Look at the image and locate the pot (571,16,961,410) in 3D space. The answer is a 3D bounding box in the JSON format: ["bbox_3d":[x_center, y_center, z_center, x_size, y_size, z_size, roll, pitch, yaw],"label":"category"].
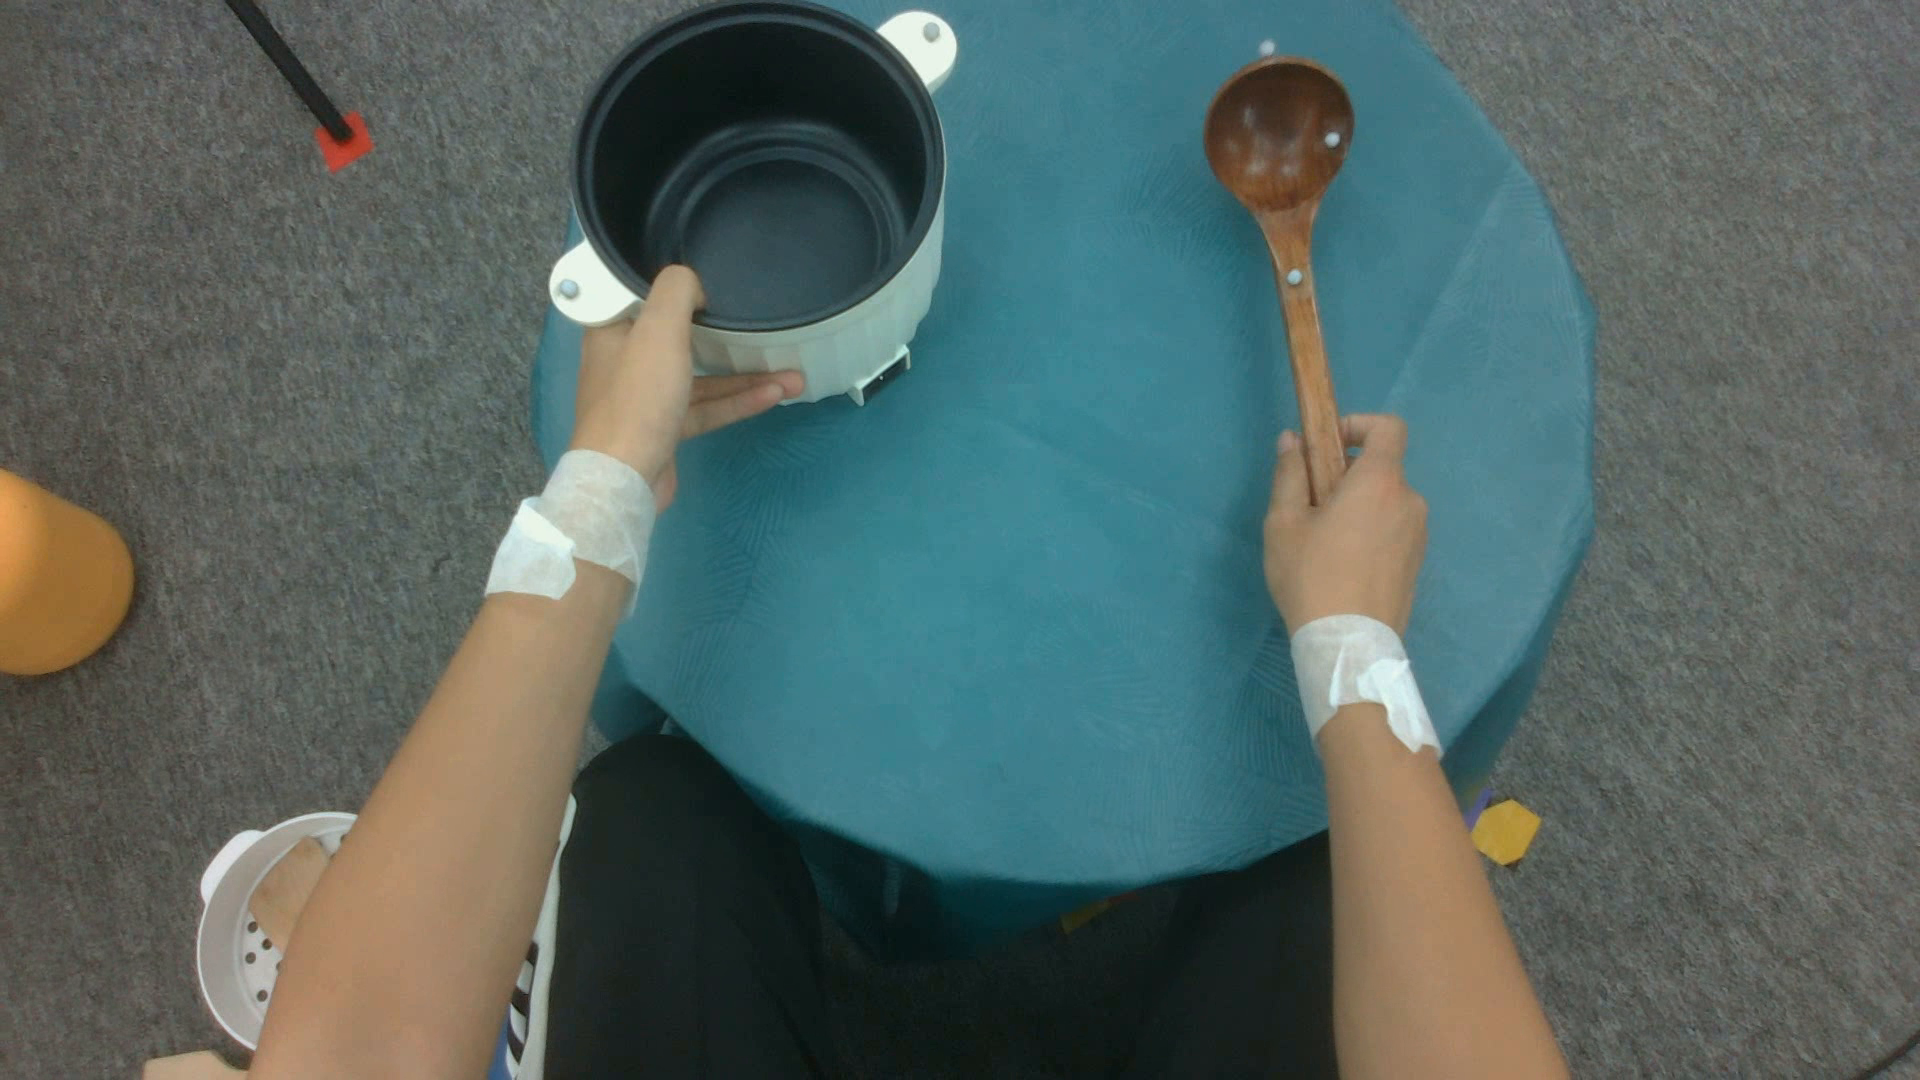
[{"bbox_3d":[-0.100,-0.168,0.748,0.241,0.142,0.190,-40,81,-12],"label":"pot"}]

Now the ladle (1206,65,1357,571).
[{"bbox_3d":[0.184,-0.124,0.735,0.082,0.076,0.275,-8,70,14],"label":"ladle"}]
